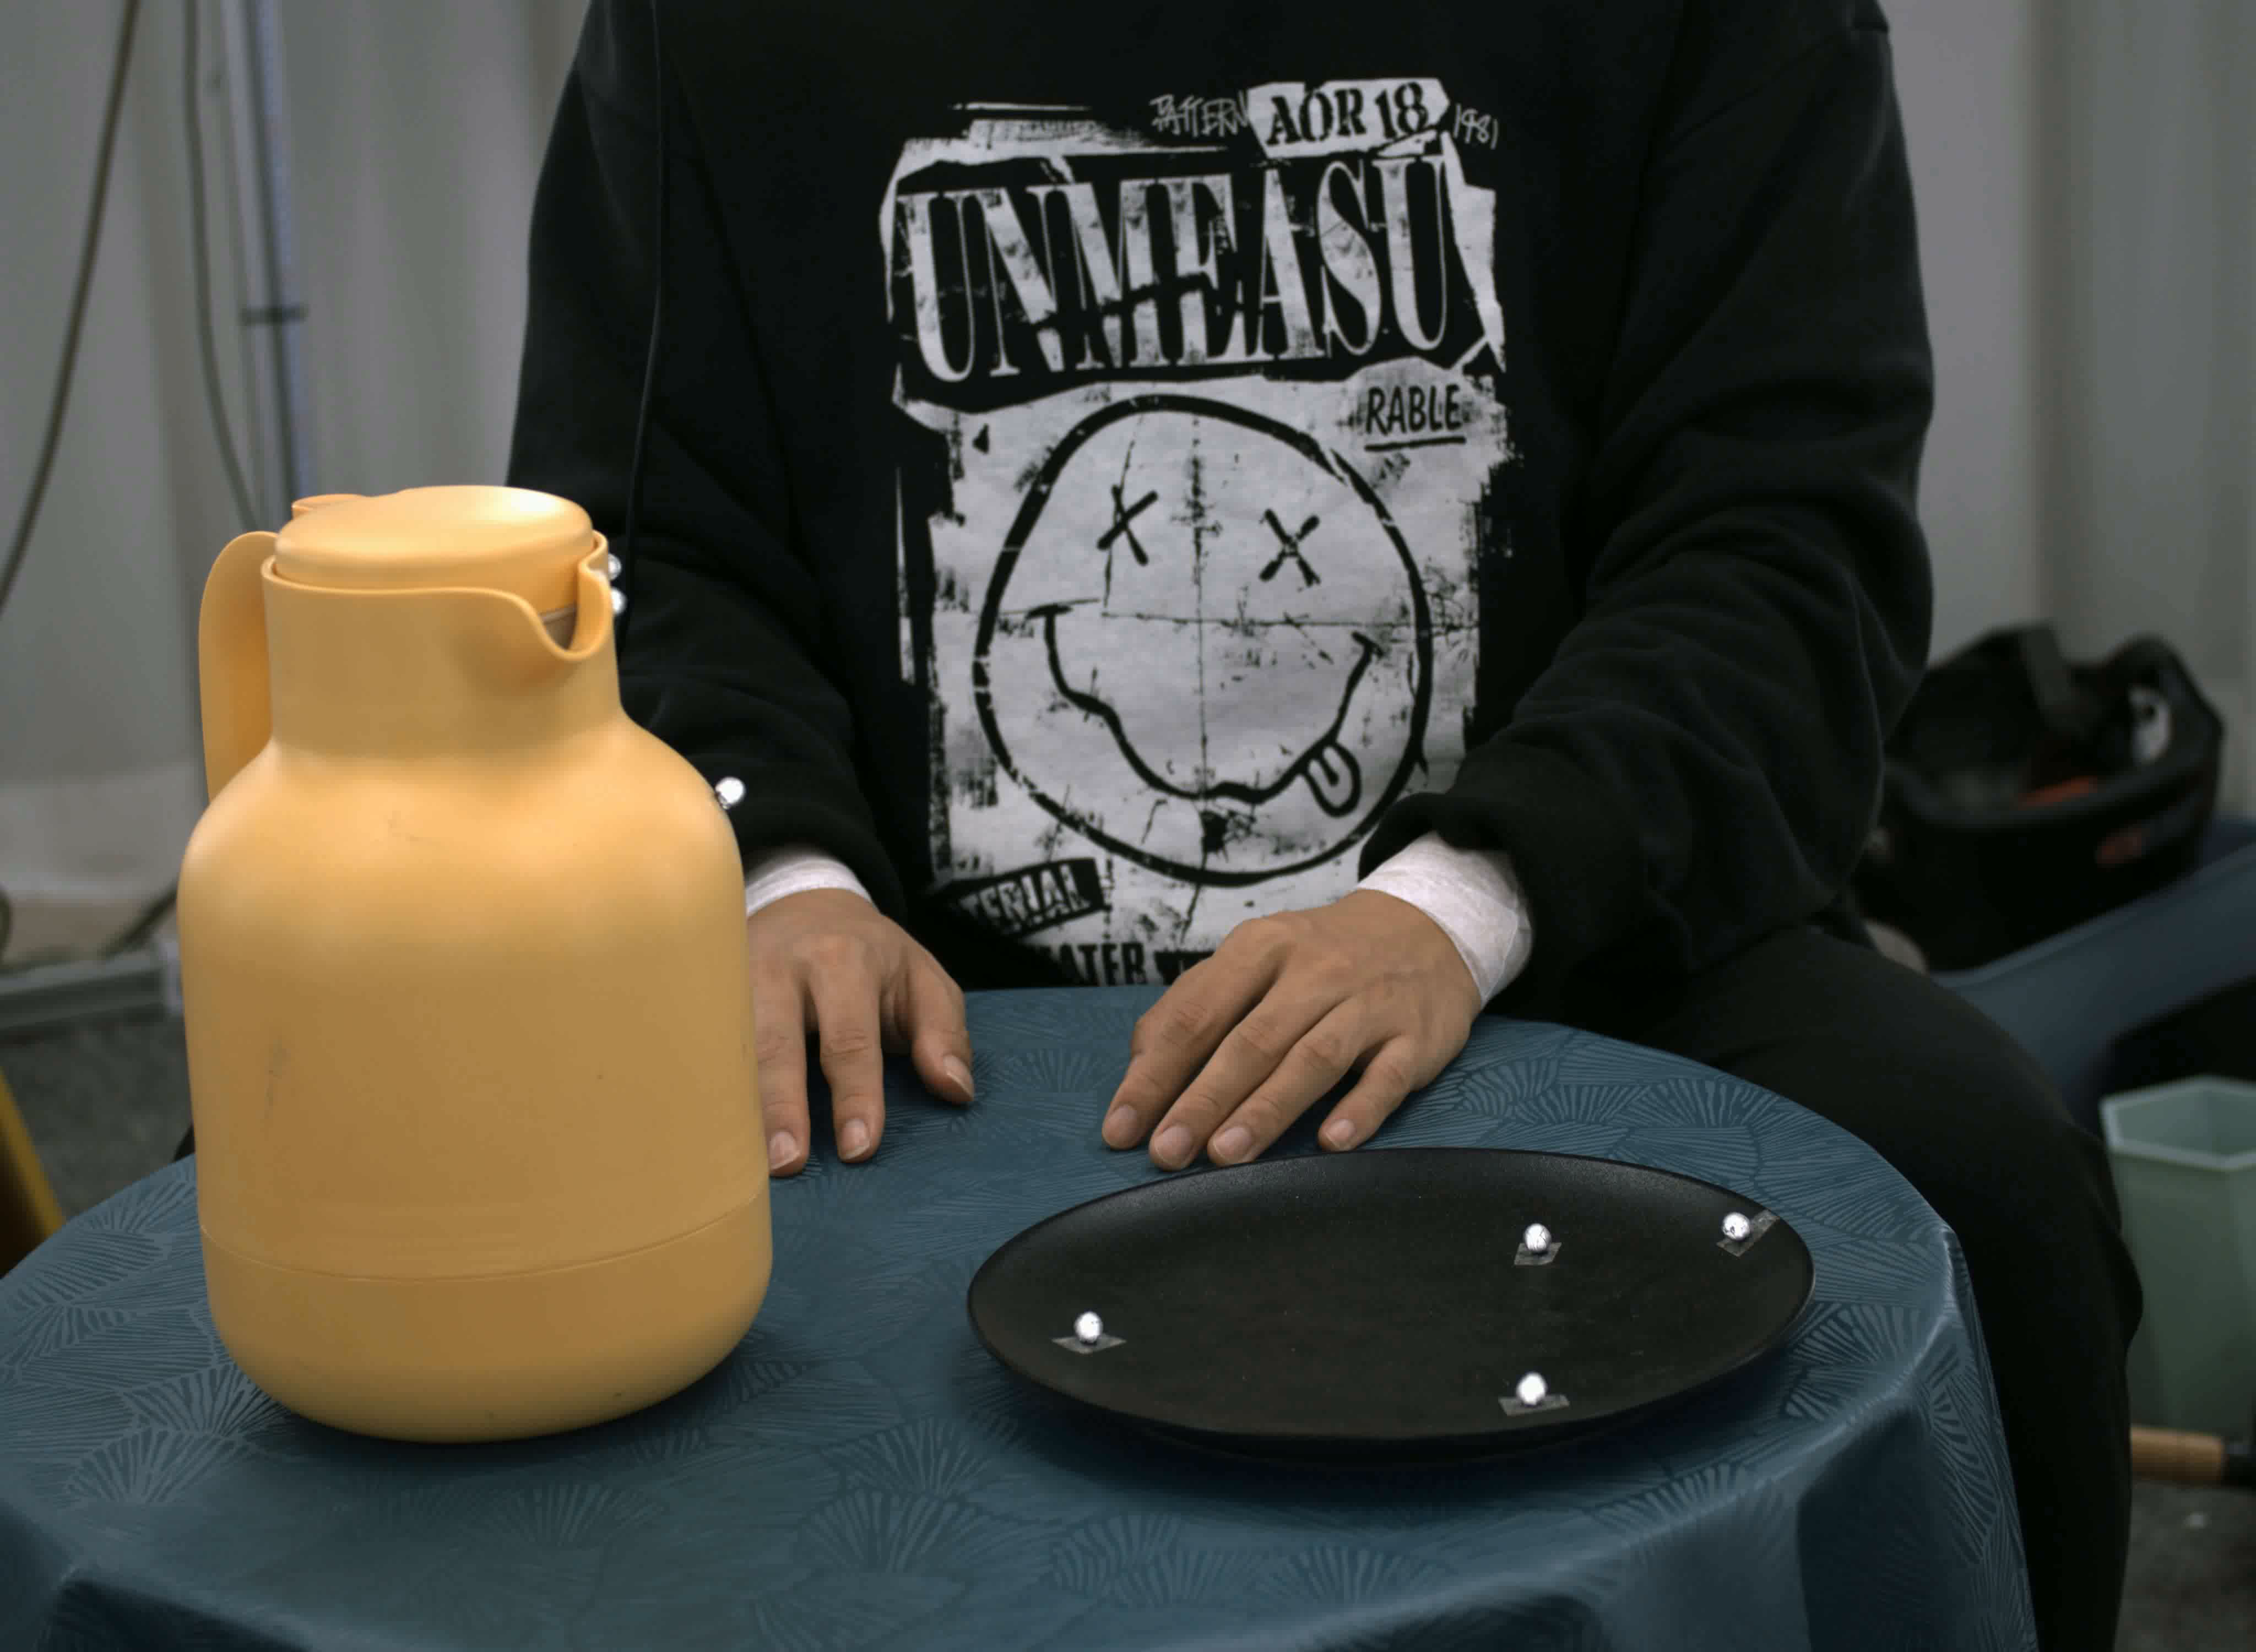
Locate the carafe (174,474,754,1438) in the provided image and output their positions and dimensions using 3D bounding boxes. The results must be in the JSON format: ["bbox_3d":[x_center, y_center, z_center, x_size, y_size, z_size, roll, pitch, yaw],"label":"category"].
[{"bbox_3d":[-0.199,0.028,1.568,0.163,0.259,0.204,-9,17,-35],"label":"carafe"}]

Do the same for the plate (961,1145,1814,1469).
[{"bbox_3d":[0.074,0.140,1.560,0.243,0.023,0.246,-3,15,0],"label":"plate"}]
